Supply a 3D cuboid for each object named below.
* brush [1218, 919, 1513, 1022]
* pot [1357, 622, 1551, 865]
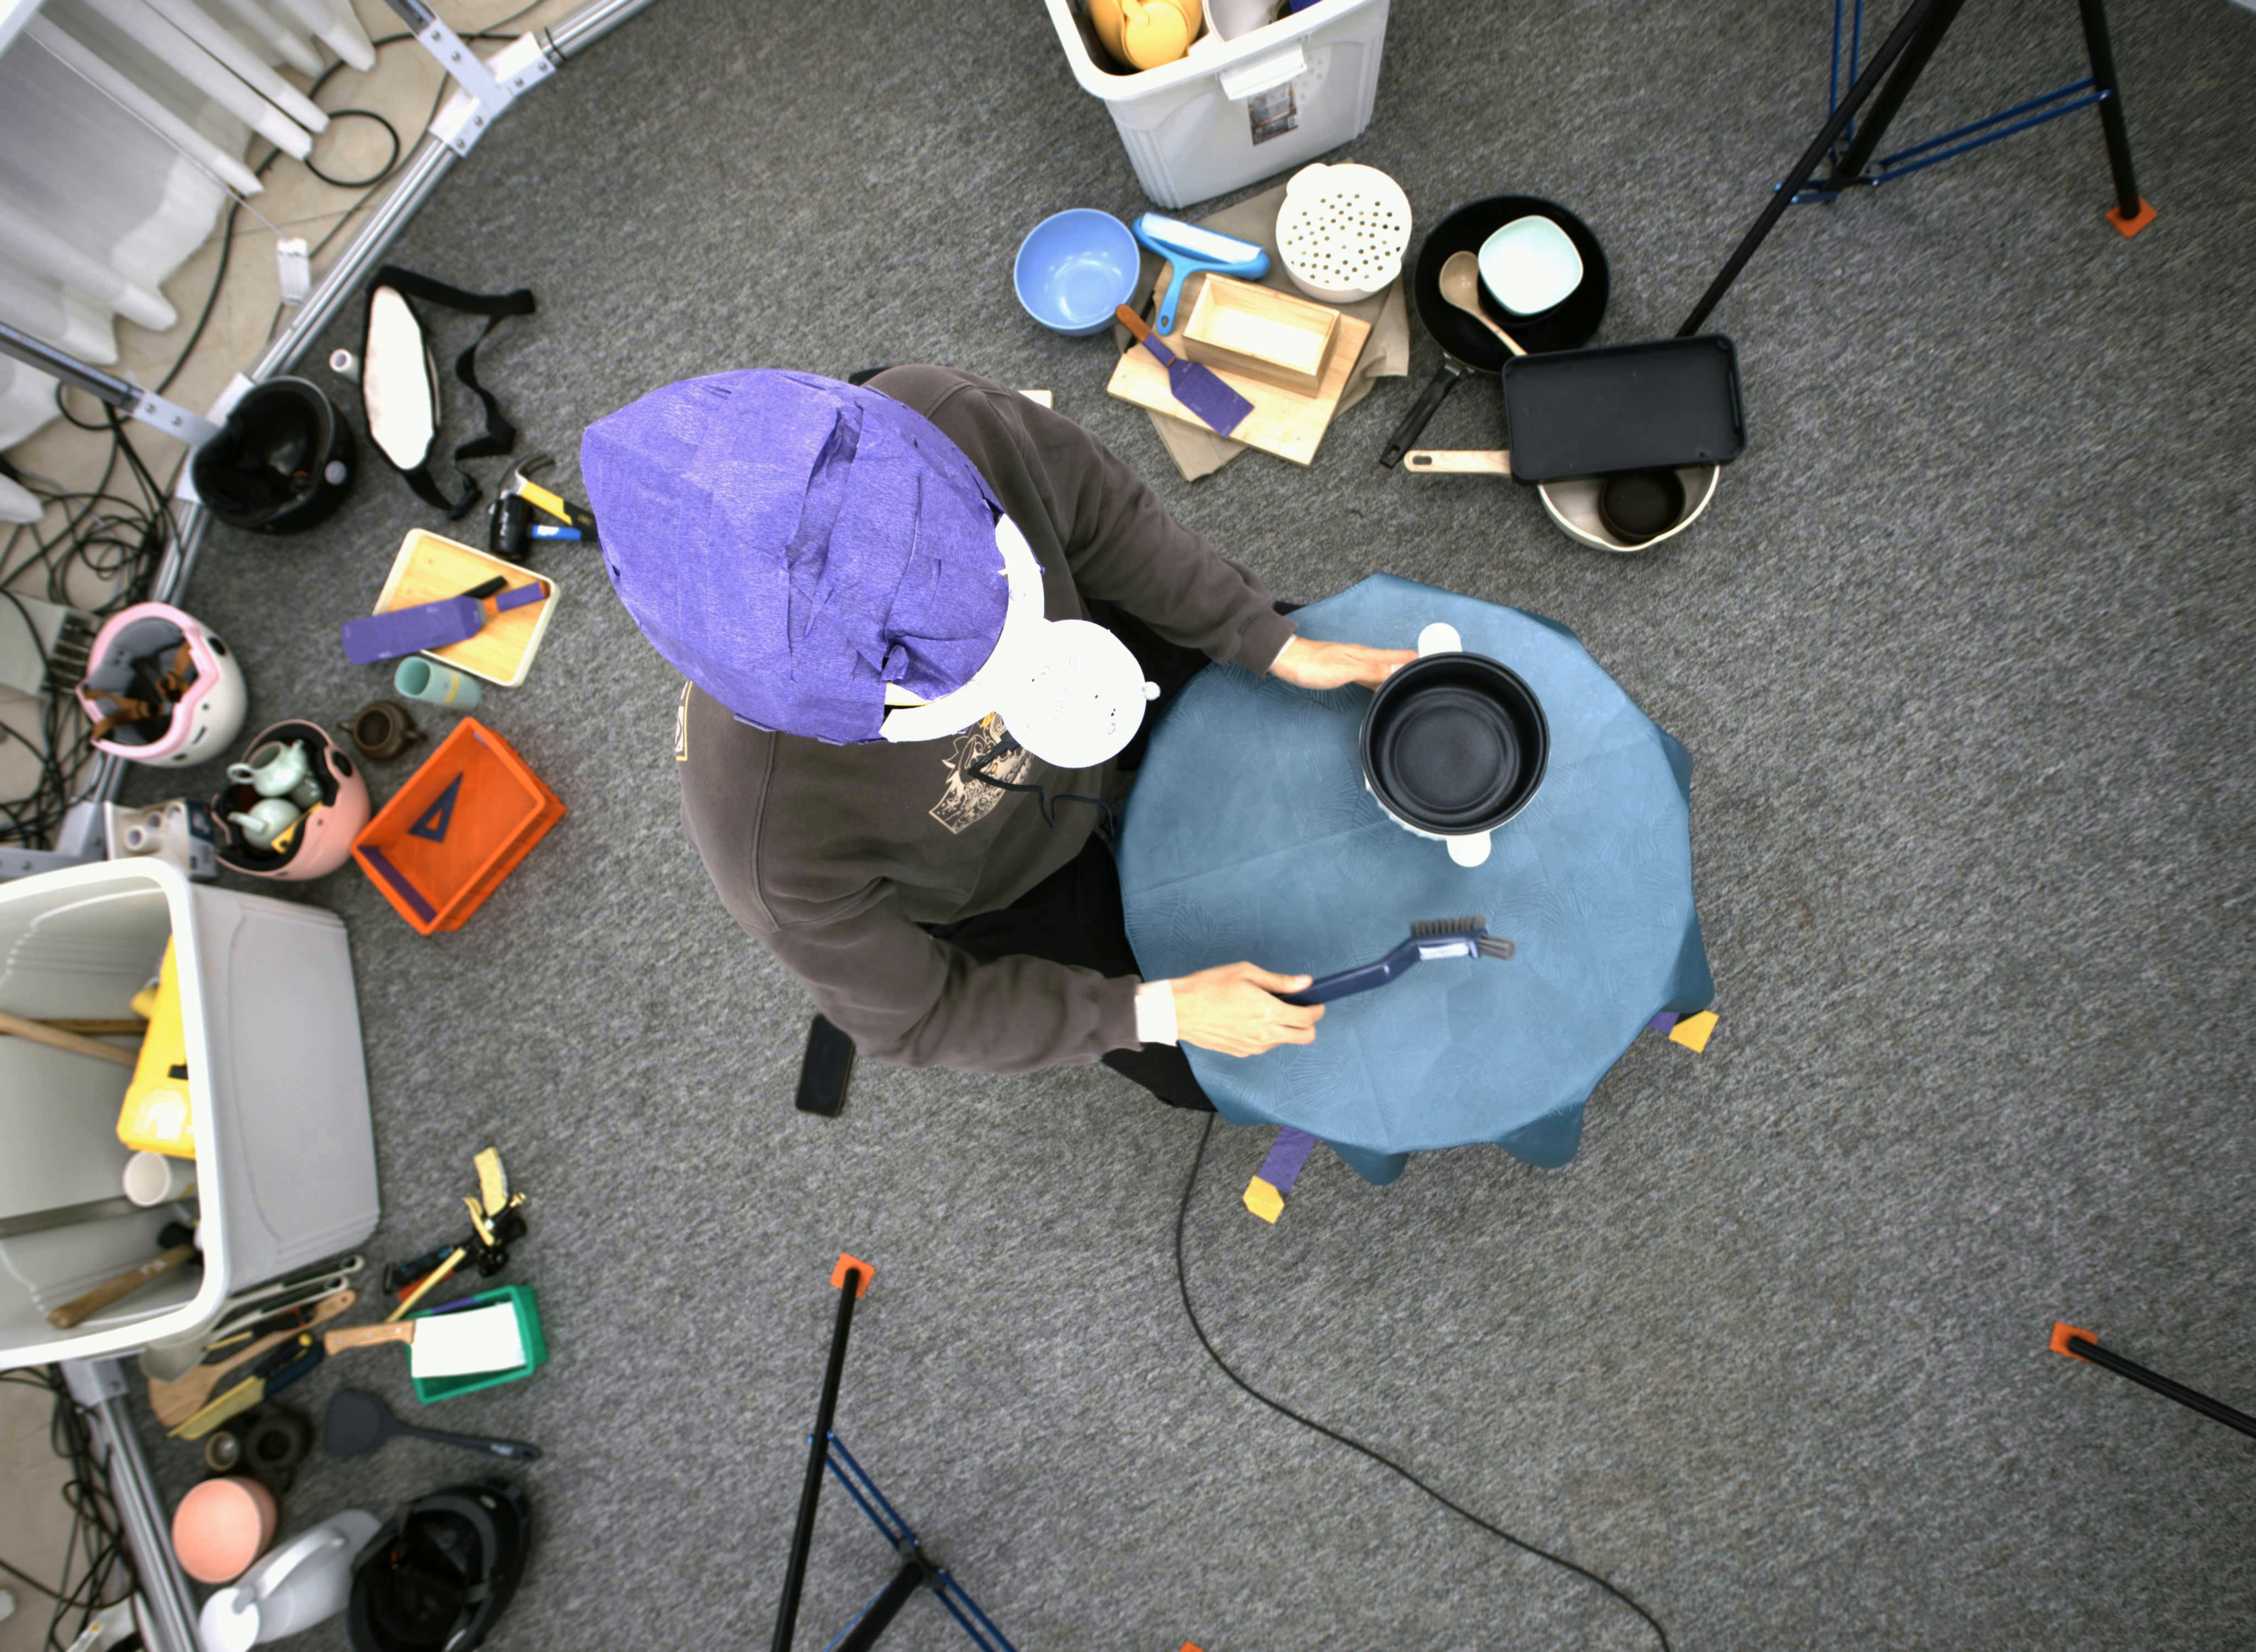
[{"bbox_3d":[0.224,0.145,1.326,0.273,0.094,0.034,-22,127,-1],"label":"brush"},{"bbox_3d":[0.329,-0.079,1.383,0.192,0.142,0.239,-9,87,14],"label":"pot"}]
